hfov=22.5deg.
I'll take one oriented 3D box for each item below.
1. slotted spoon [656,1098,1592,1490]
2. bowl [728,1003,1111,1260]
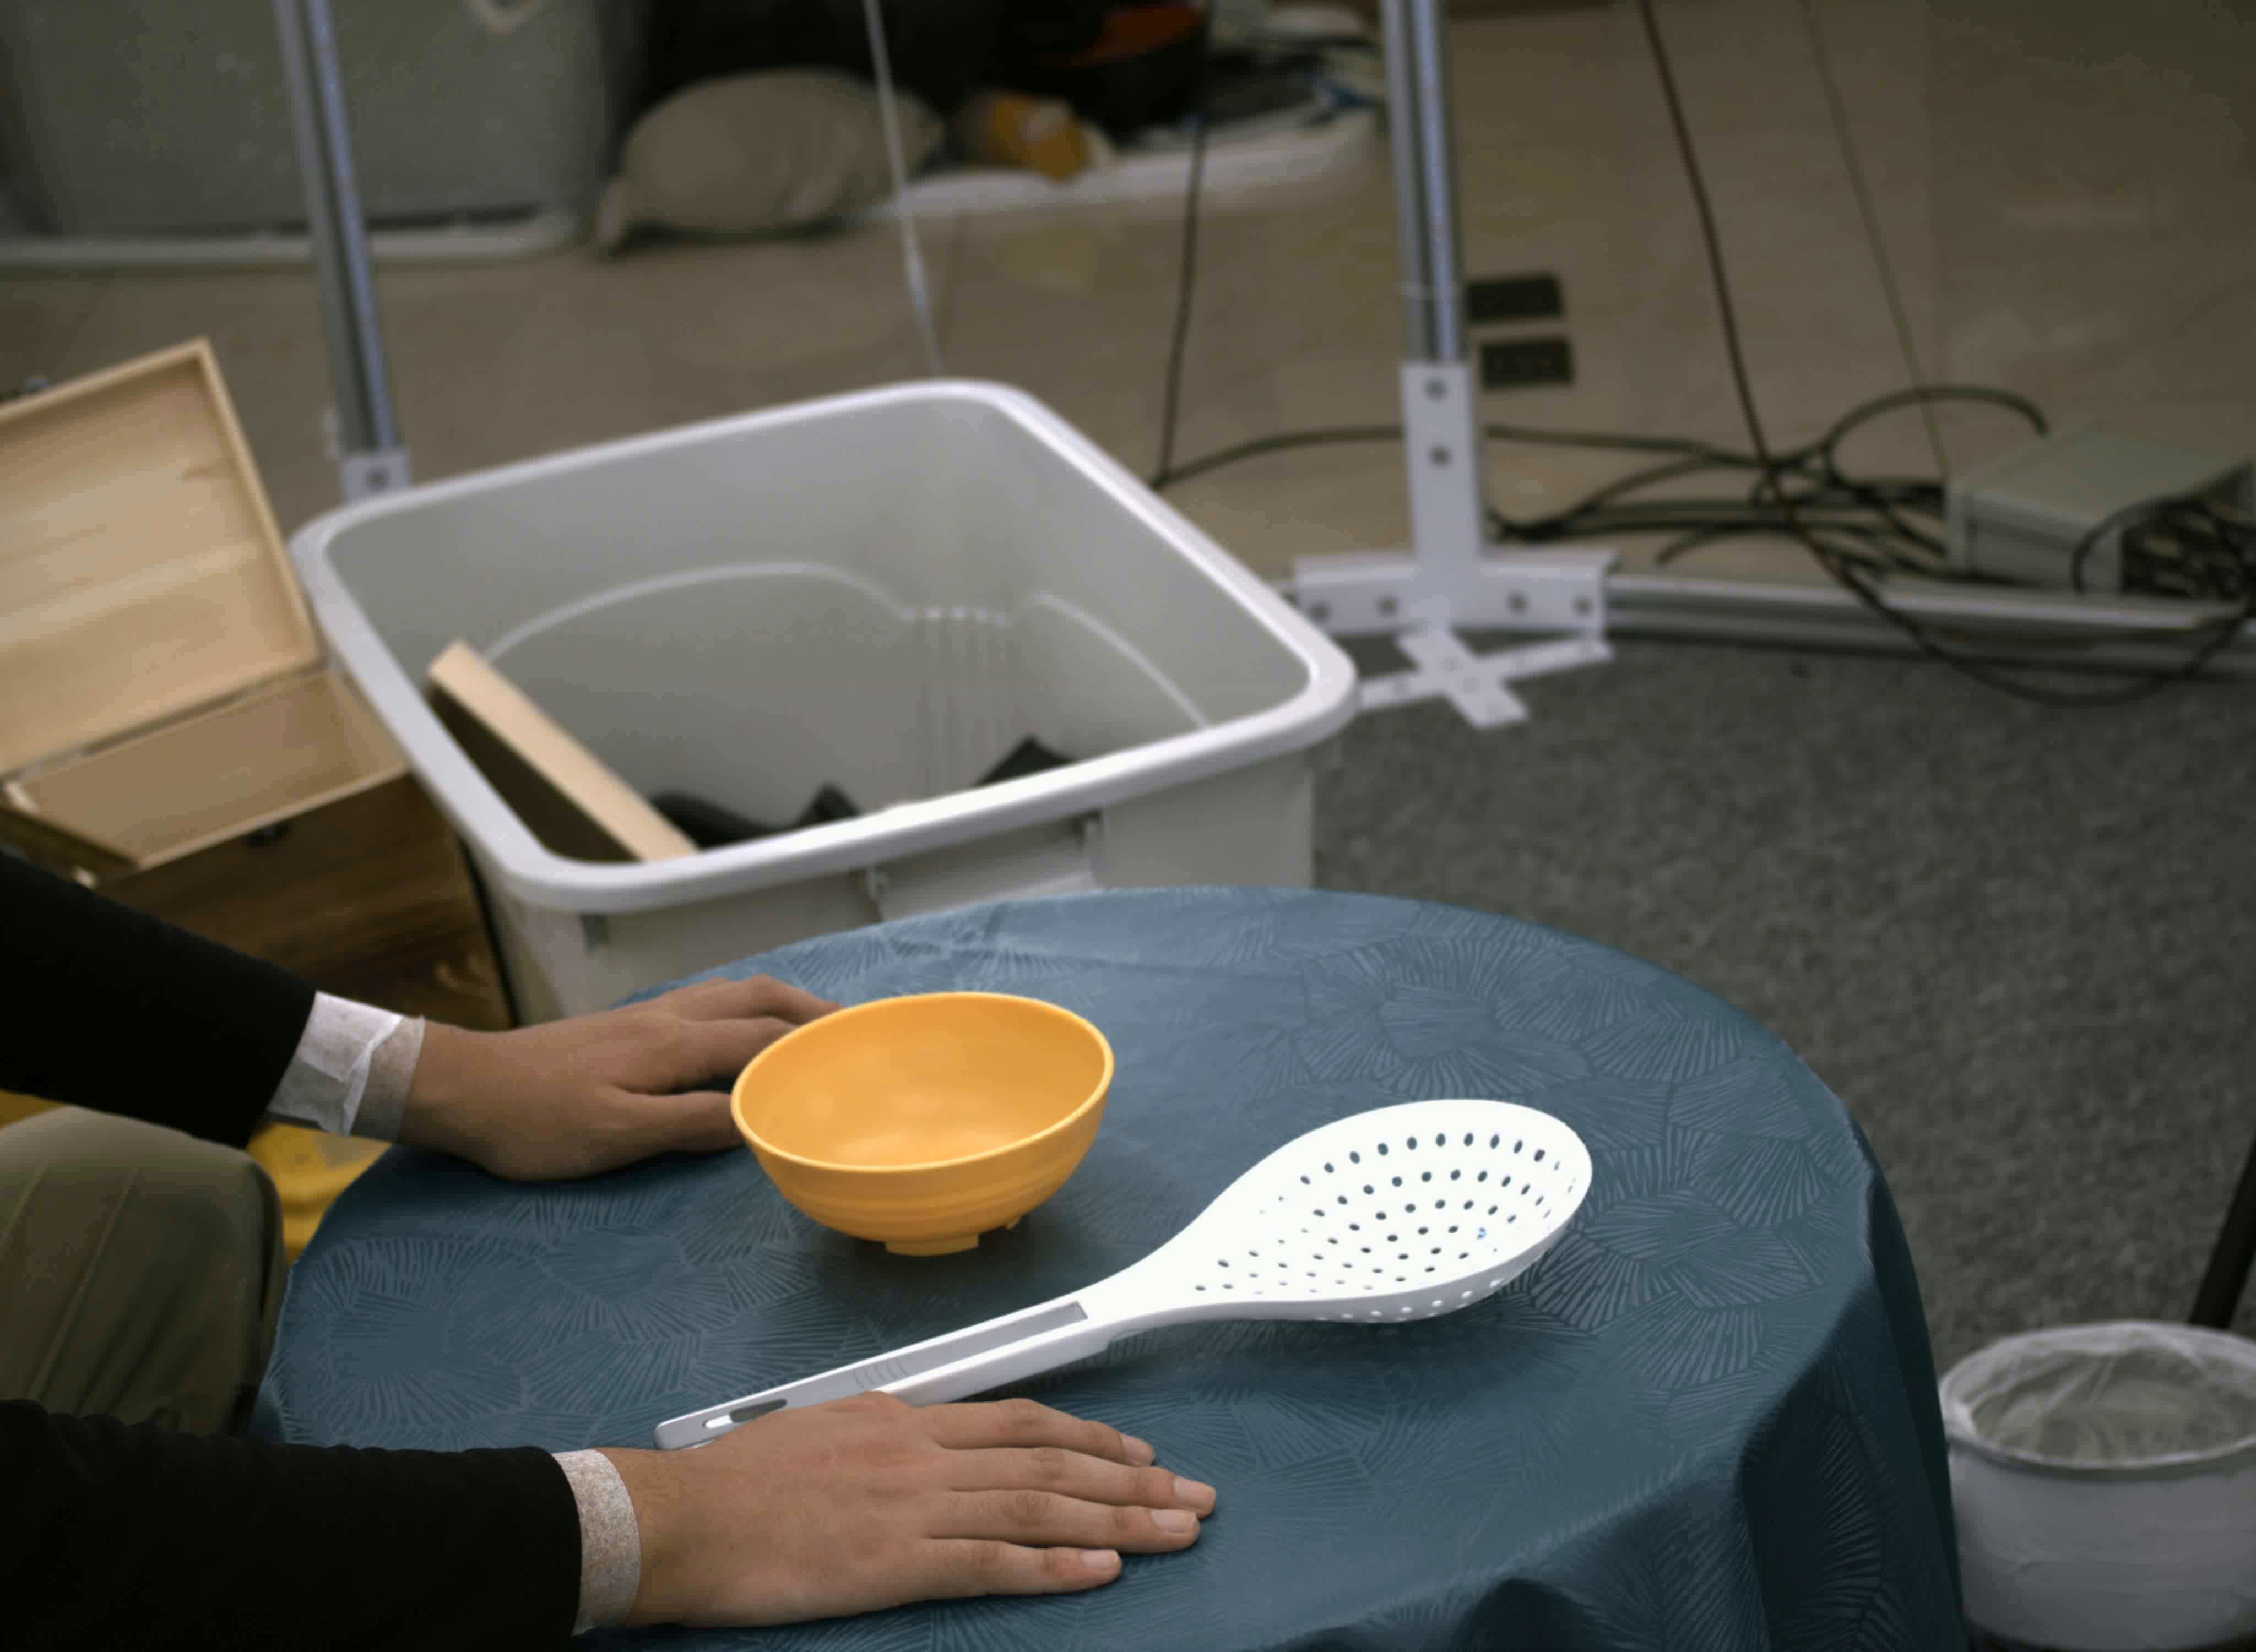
[{"bbox_3d":[0.000,0.171,2.023,0.348,0.046,0.134,-14,25,-13],"label":"slotted spoon"},{"bbox_3d":[-0.076,0.122,2.135,0.145,0.061,0.143,-4,24,2],"label":"bowl"}]
